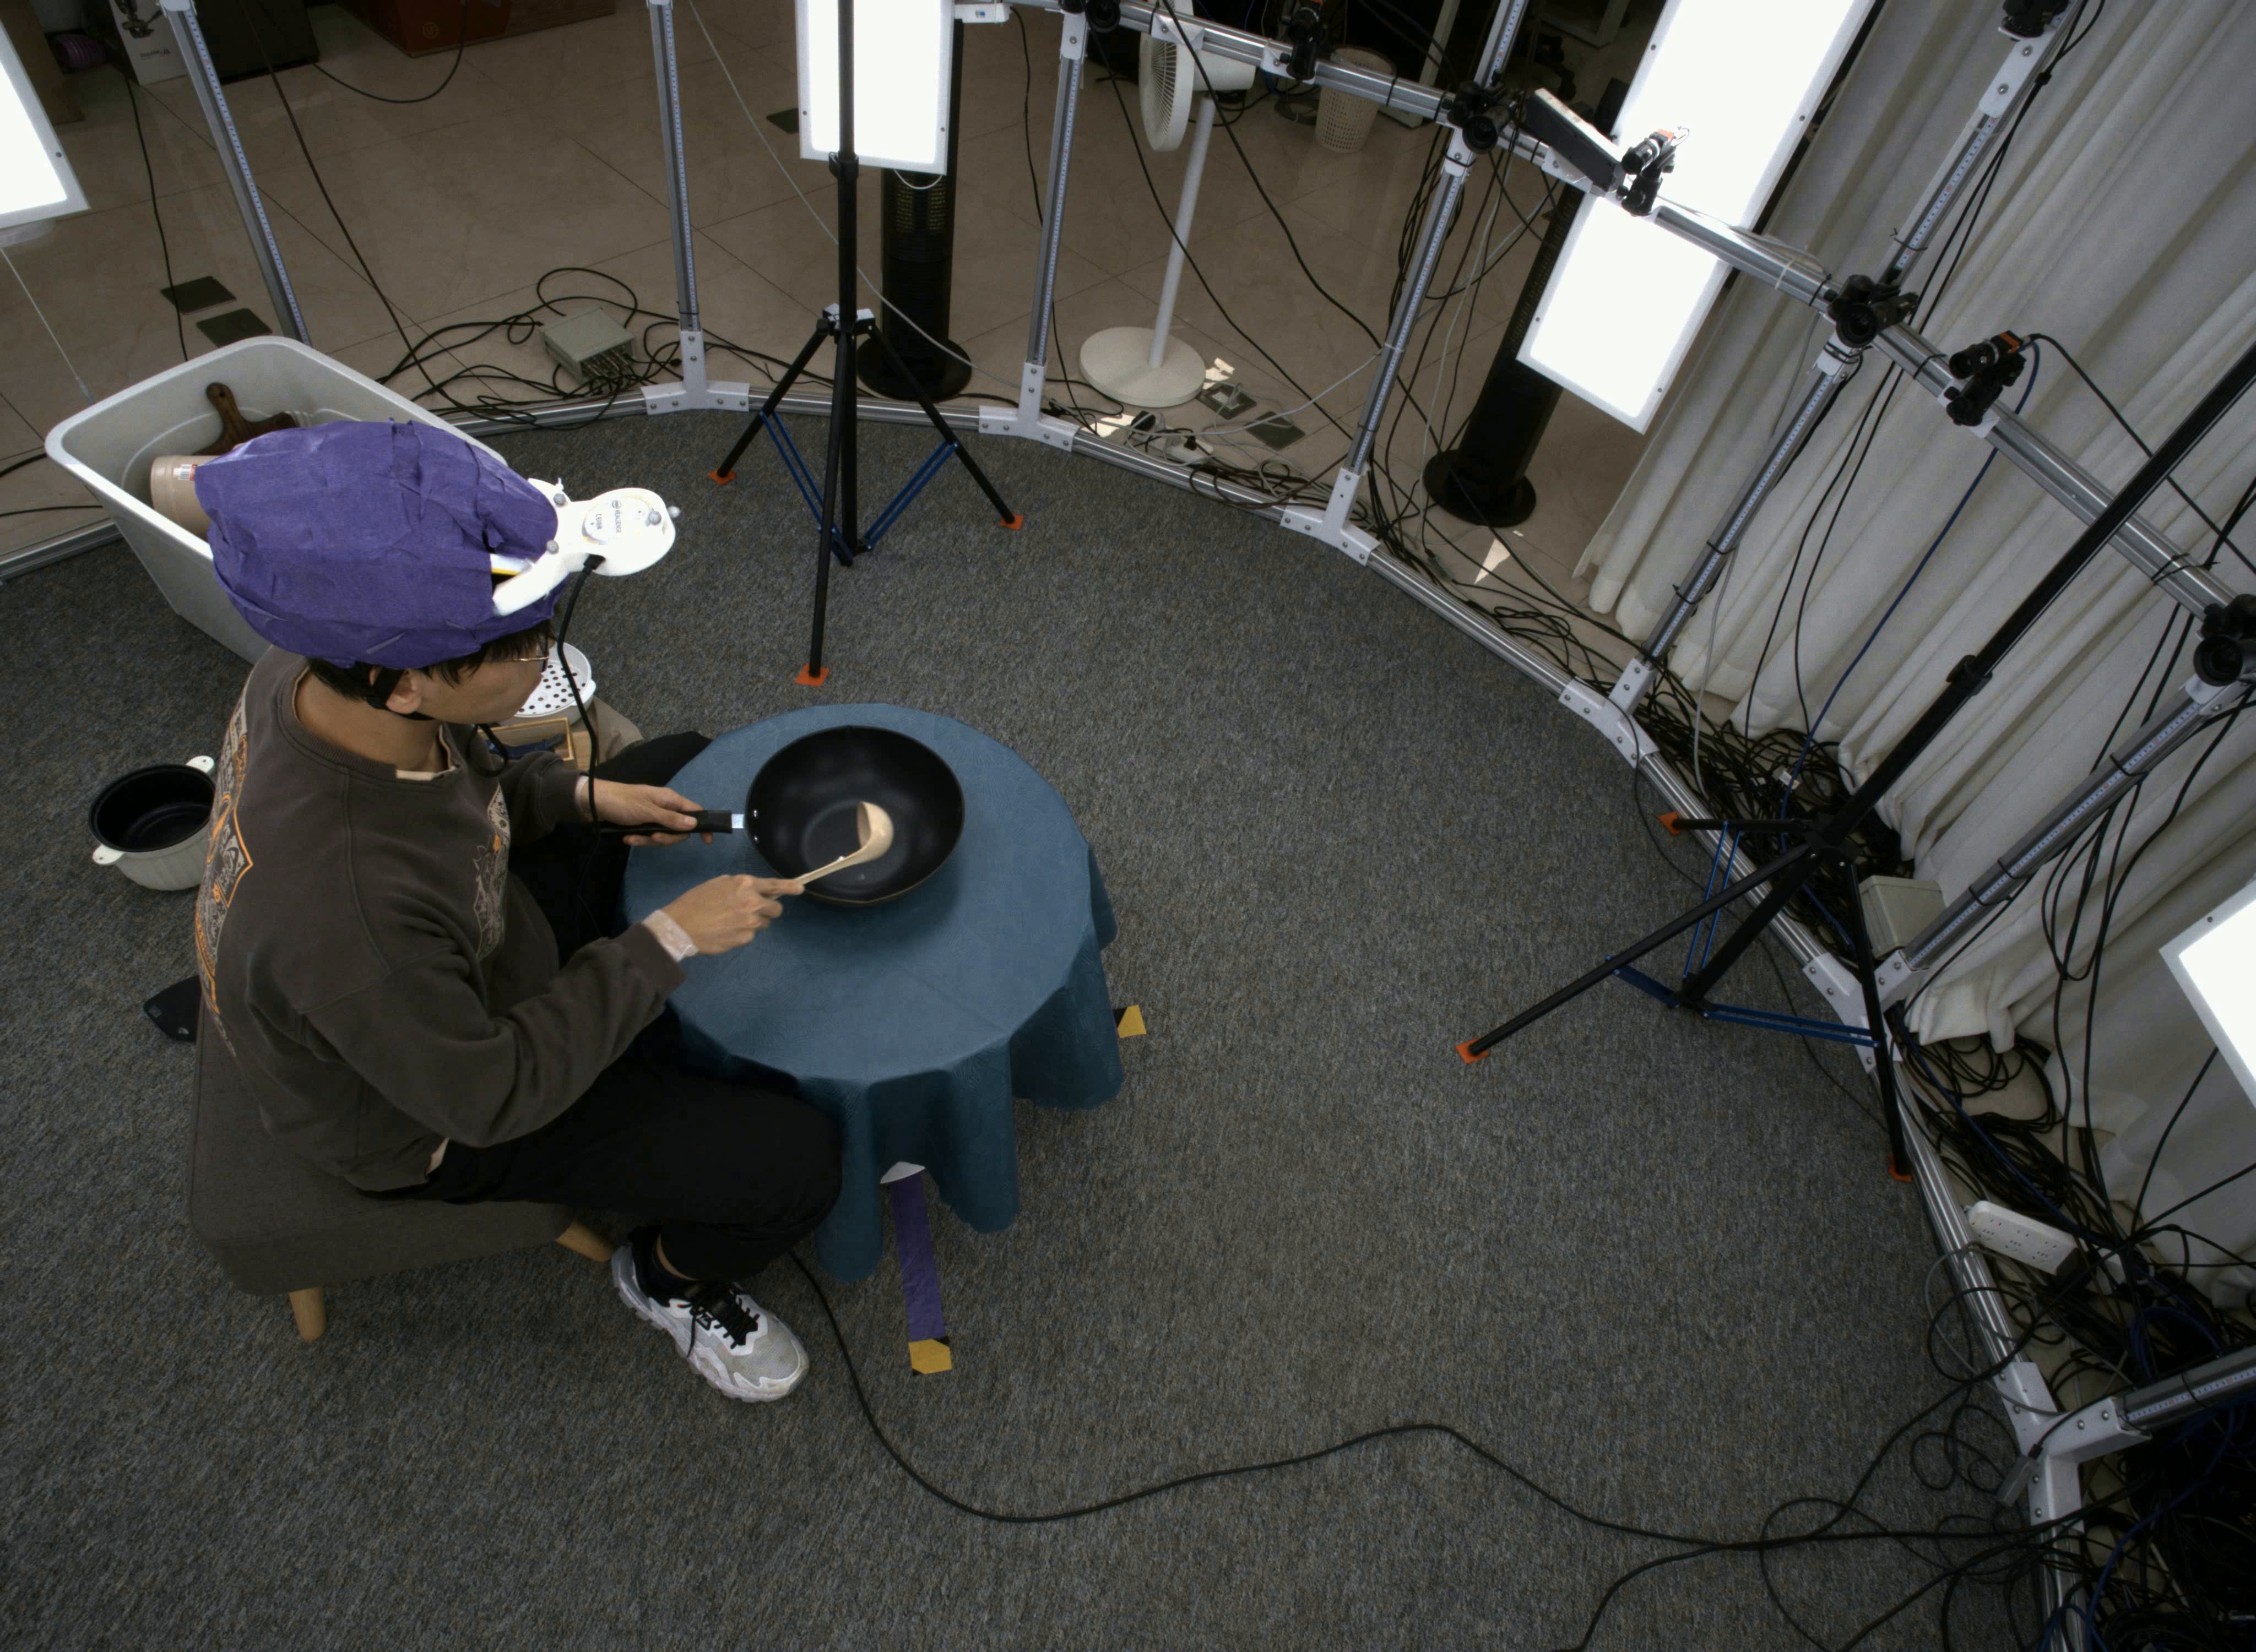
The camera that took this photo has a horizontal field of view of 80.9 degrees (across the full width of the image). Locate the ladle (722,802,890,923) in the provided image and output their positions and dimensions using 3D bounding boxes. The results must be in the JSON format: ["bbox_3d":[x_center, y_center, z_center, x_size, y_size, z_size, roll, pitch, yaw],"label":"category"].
[{"bbox_3d":[-0.391,0.039,1.531,0.071,0.073,0.256,41,42,22],"label":"ladle"}]

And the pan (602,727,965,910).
[{"bbox_3d":[-0.440,0.009,1.676,0.463,0.089,0.282,-5,56,-14],"label":"pan"}]
